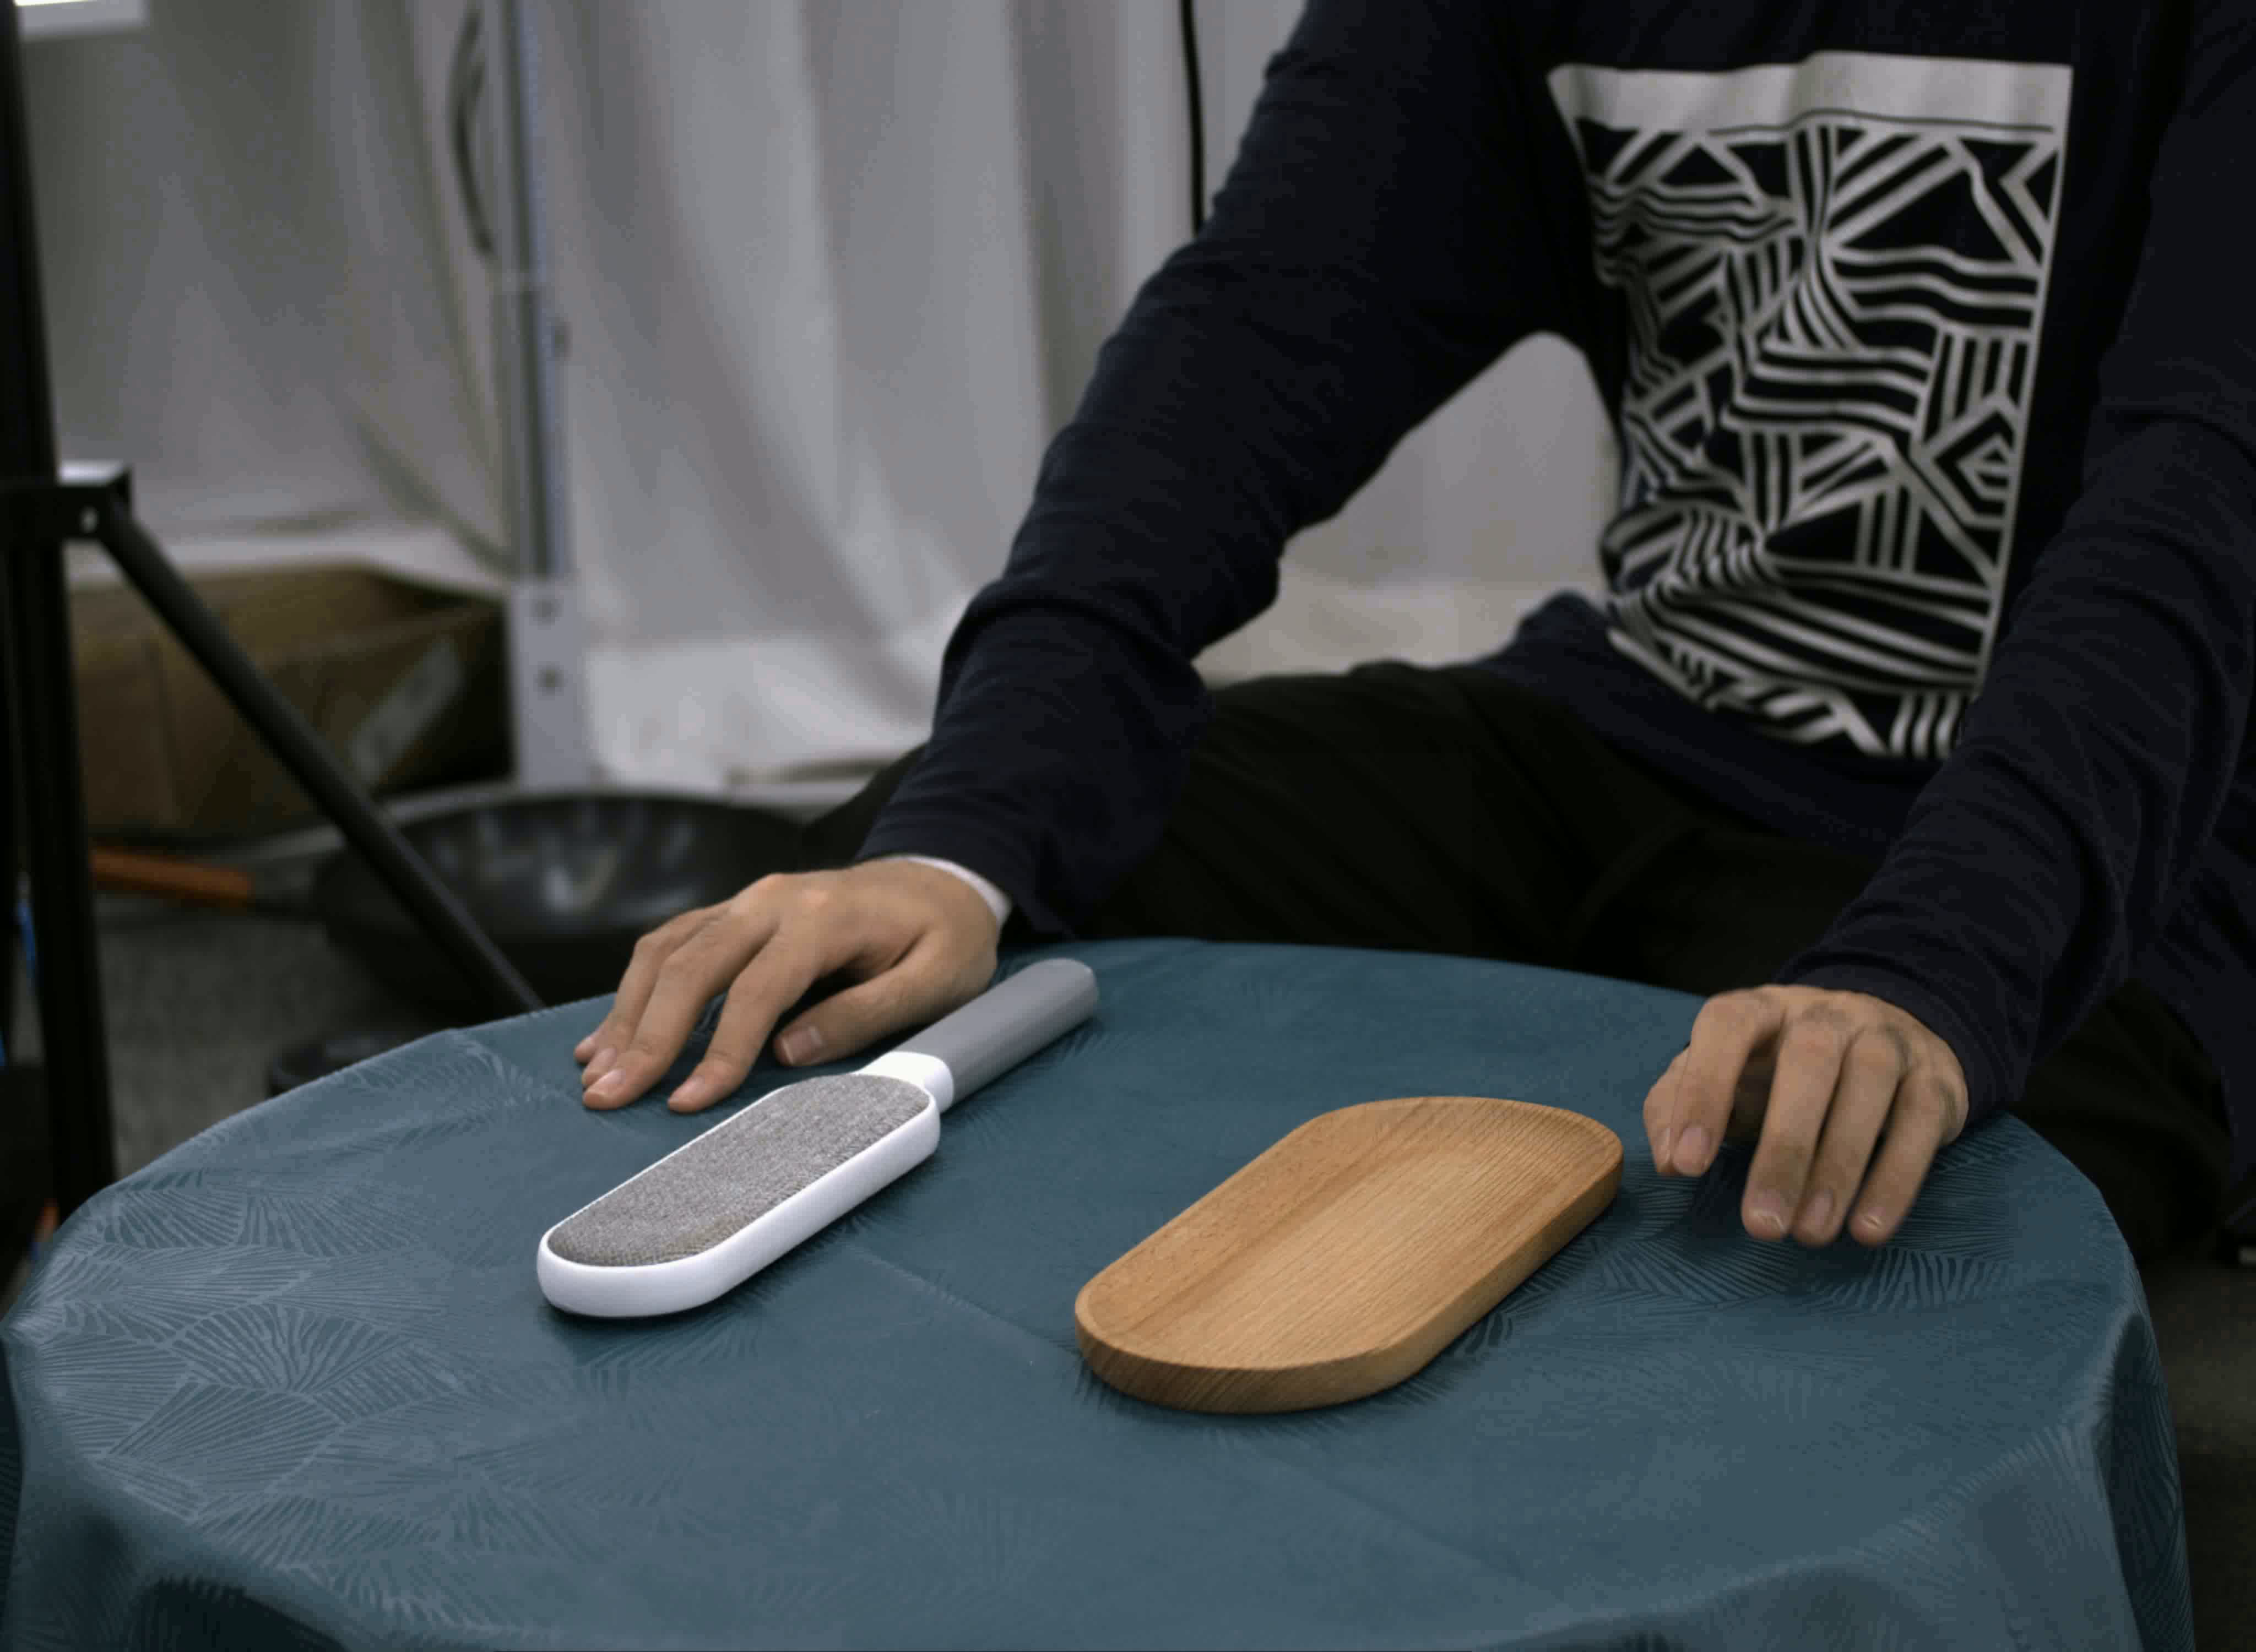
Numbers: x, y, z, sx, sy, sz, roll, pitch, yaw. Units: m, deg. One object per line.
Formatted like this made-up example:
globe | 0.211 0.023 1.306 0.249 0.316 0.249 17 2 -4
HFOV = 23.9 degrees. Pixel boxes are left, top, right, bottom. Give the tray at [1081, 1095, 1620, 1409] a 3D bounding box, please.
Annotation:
tray | 0.066 0.117 1.490 0.103 0.020 0.227 7 16 24

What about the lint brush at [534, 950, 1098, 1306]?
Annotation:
lint brush | -0.083 0.087 1.599 0.061 0.021 0.304 0 15 27
